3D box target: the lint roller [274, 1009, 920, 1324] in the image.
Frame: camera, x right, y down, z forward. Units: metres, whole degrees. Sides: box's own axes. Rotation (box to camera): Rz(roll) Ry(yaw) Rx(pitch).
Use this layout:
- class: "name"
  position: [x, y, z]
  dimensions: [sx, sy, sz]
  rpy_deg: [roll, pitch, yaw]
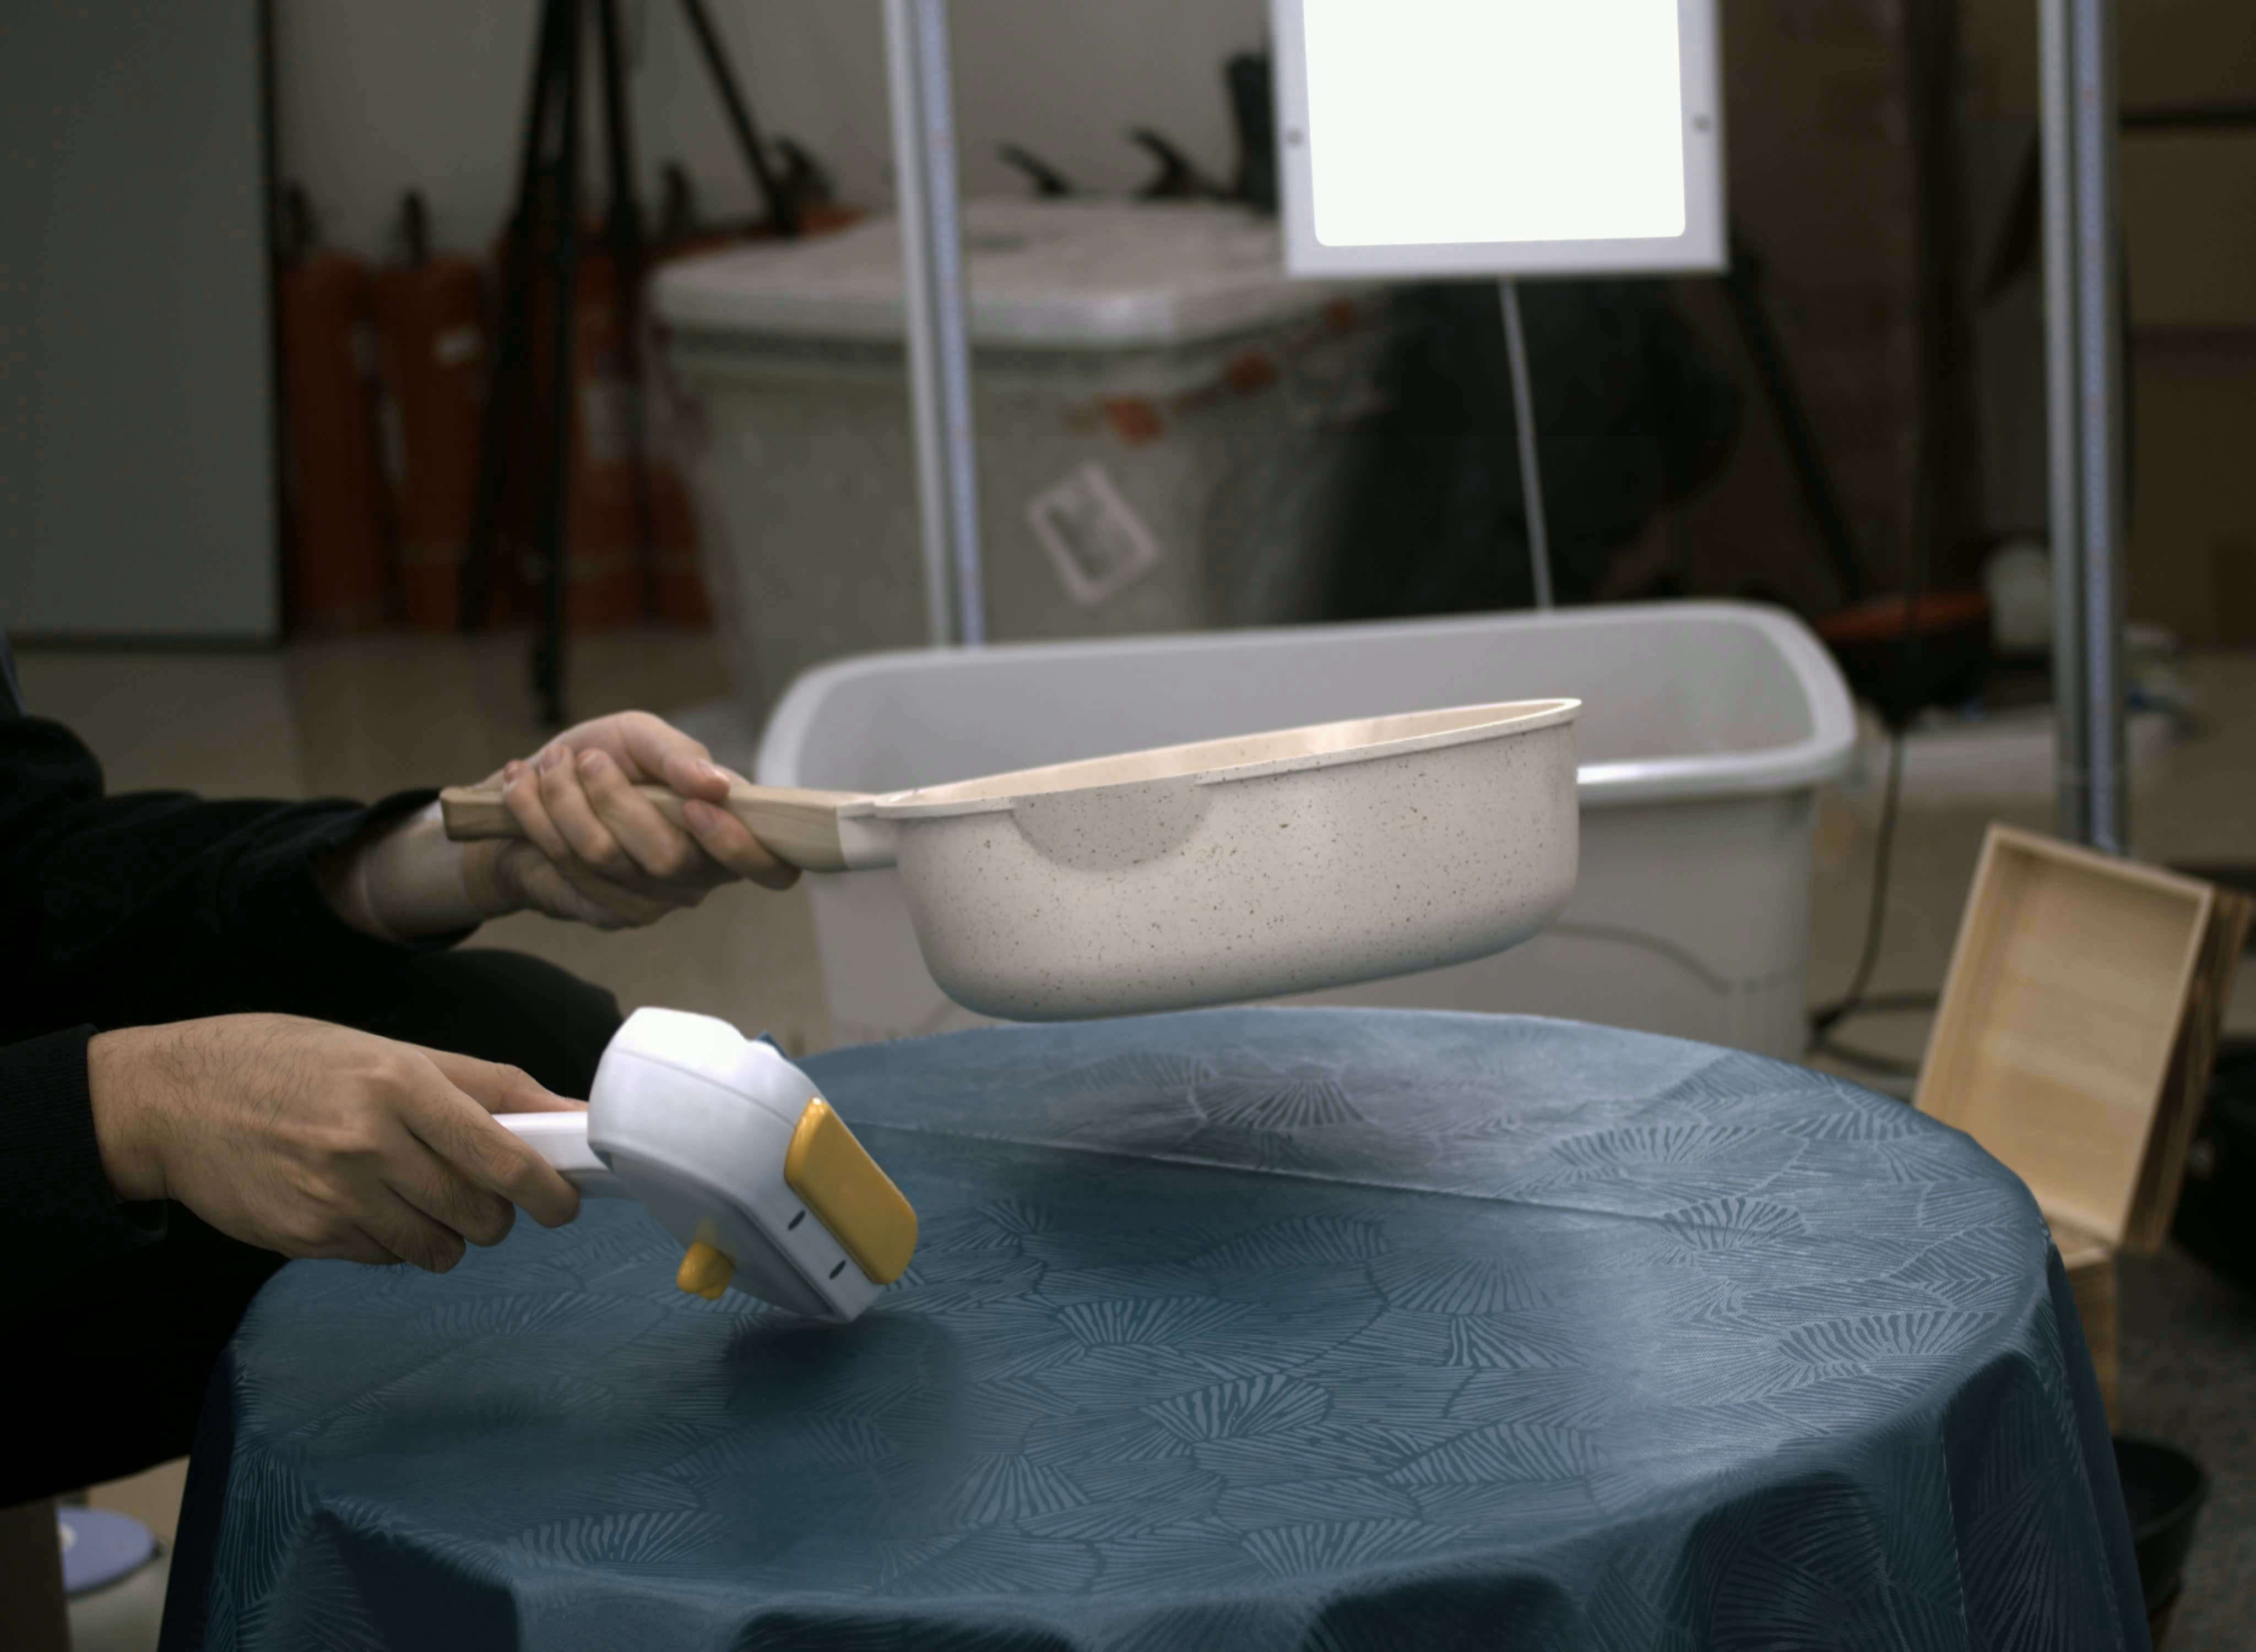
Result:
- class: "lint roller"
  position: [-0.174, 0.105, 1.727]
  dimensions: [0.195, 0.074, 0.191]
  rpy_deg: [9, -12, 19]

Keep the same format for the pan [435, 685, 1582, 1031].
- class: "pan"
  position: [-0.045, 0.017, 1.963]
  dimensions: [0.441, 0.102, 0.258]
  rpy_deg: [-8, 5, 23]
